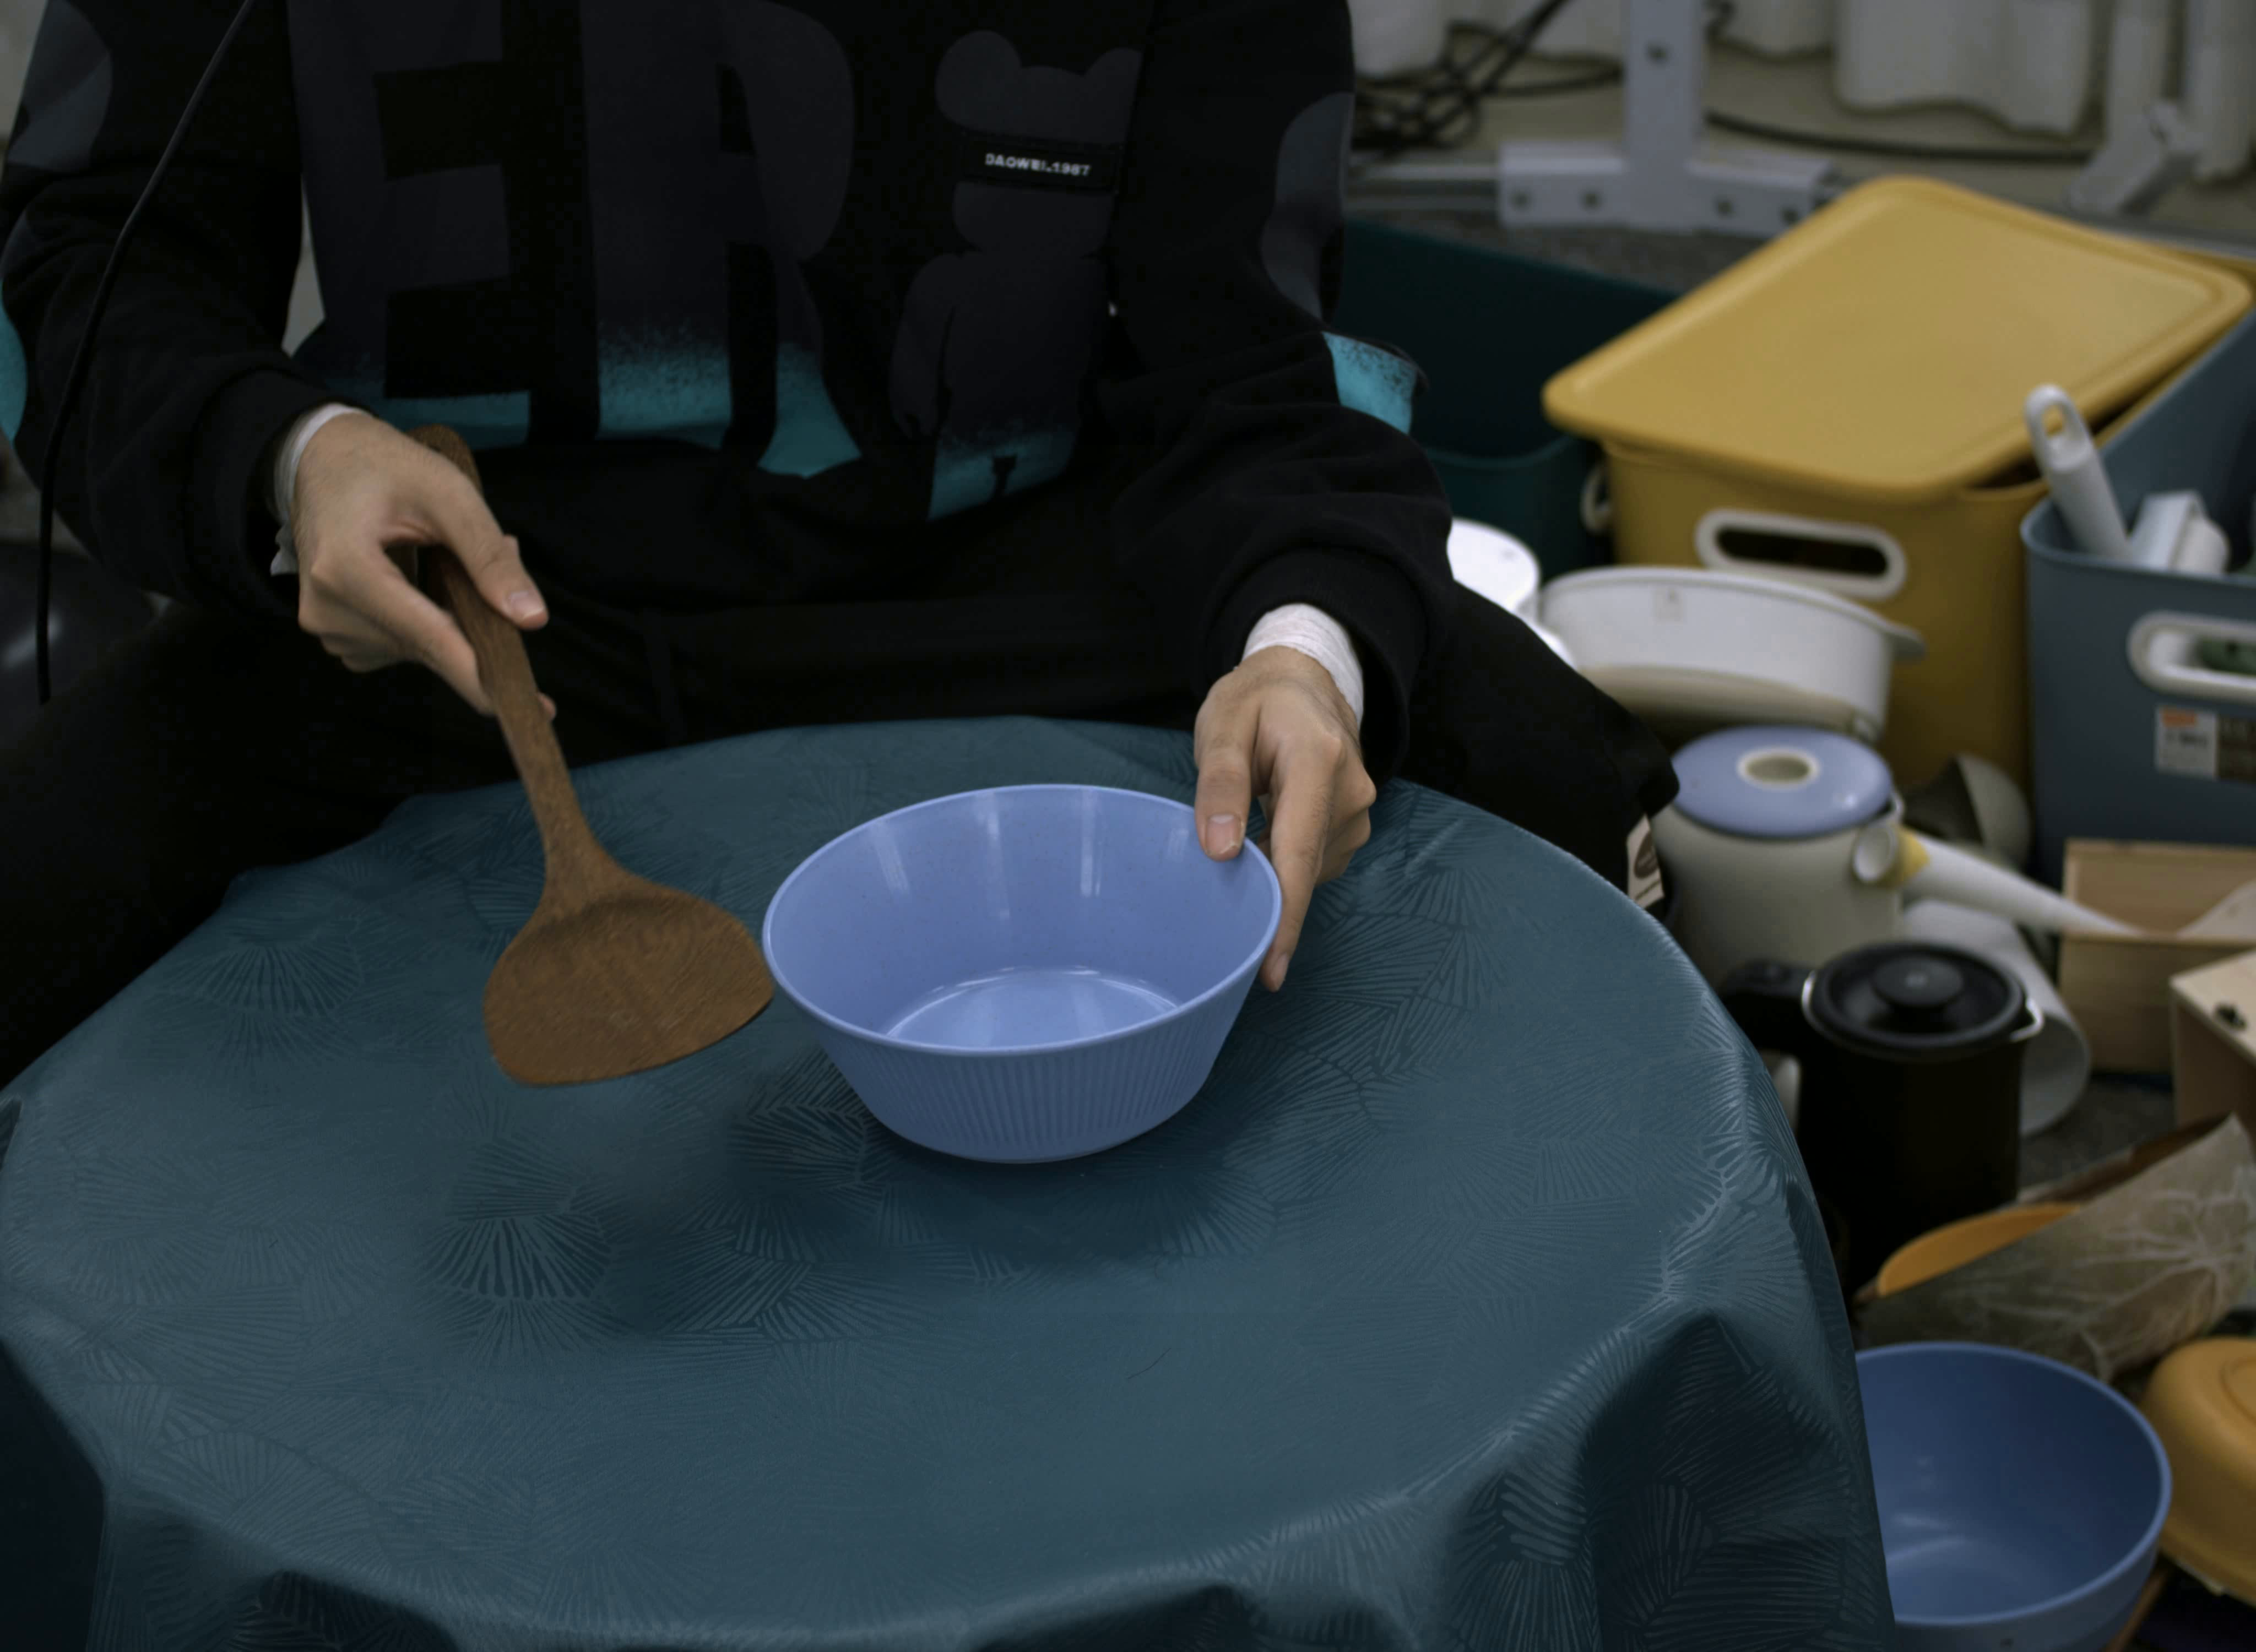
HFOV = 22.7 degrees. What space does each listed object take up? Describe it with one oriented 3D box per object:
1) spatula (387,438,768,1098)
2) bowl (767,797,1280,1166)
[{"bbox_3d":[-0.209,-0.031,1.946,0.096,0.015,0.391,-16,40,-8],"label":"spatula"},{"bbox_3d":[-0.033,0.059,1.909,0.175,0.069,0.179,-3,27,2],"label":"bowl"}]
